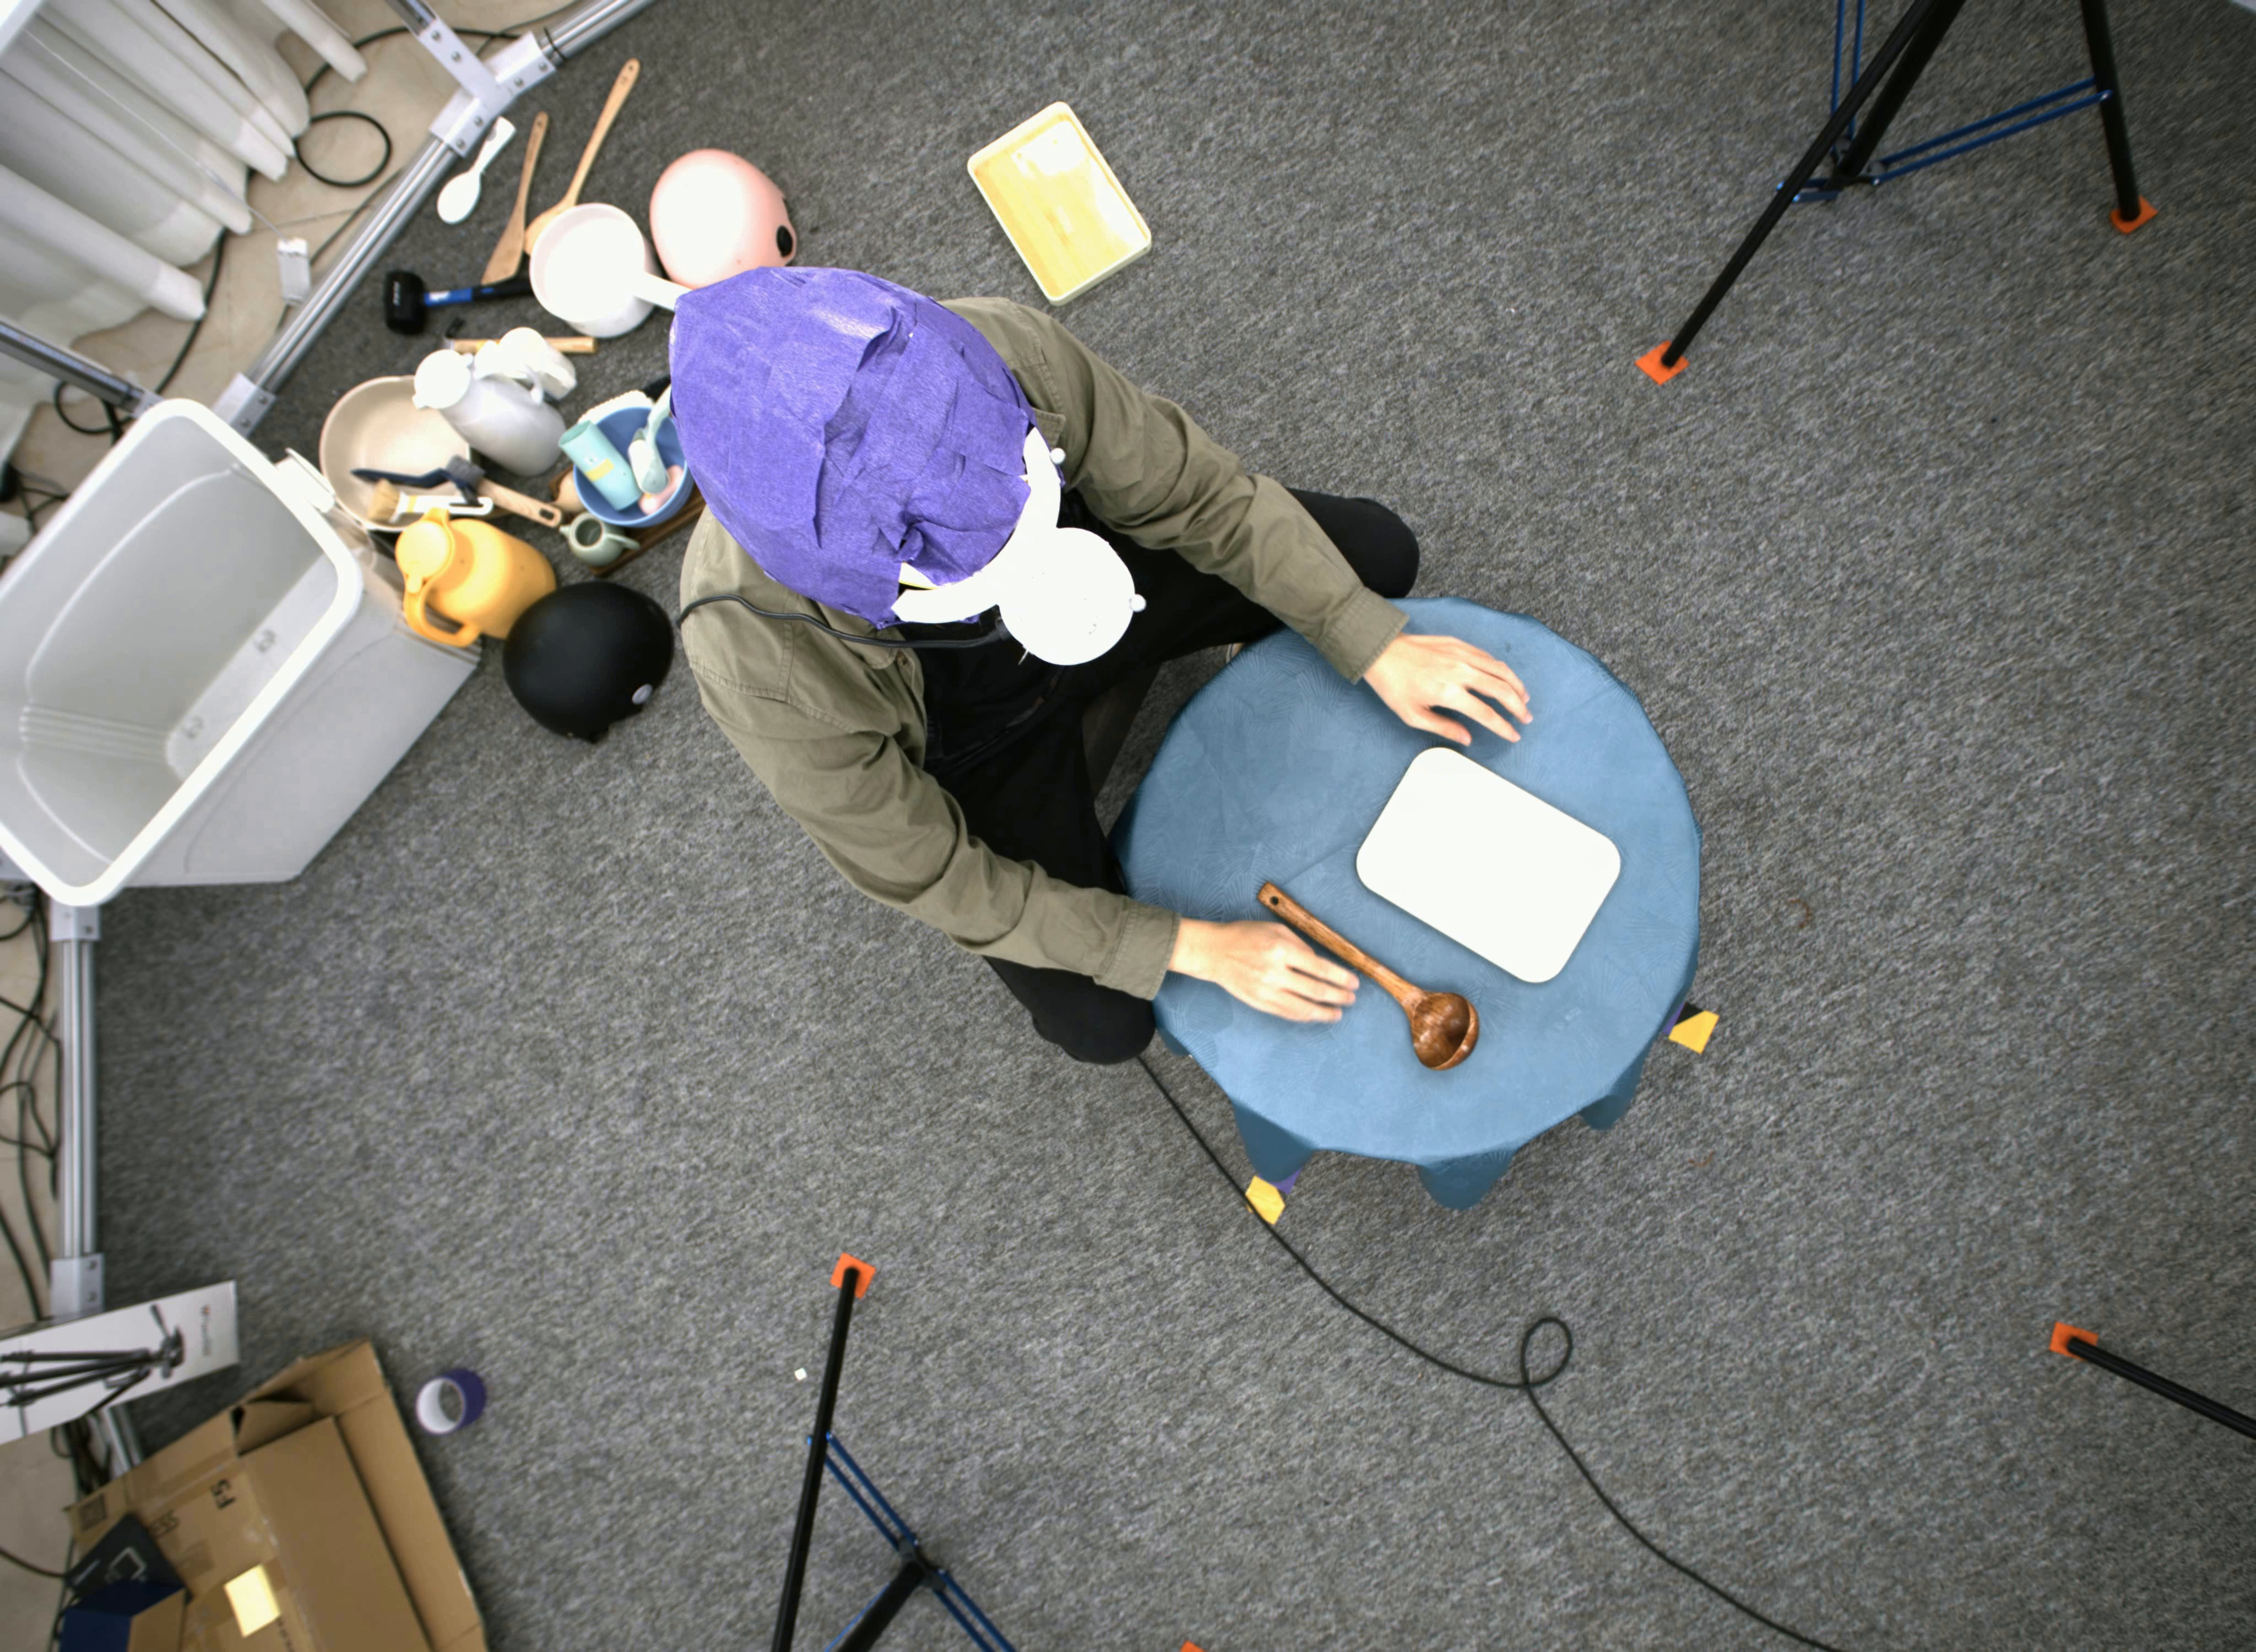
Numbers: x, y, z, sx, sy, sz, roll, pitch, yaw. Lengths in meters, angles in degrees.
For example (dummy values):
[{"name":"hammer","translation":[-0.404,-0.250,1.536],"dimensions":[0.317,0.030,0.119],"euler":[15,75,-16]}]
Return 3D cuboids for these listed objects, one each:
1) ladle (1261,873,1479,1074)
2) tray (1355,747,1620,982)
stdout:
[{"name":"ladle","translation":[0.238,0.145,1.413],"dimensions":[0.273,0.076,0.083],"euler":[38,105,9]},{"name":"tray","translation":[0.370,0.037,1.423],"dimensions":[0.239,0.017,0.171],"euler":[31,93,10]}]
